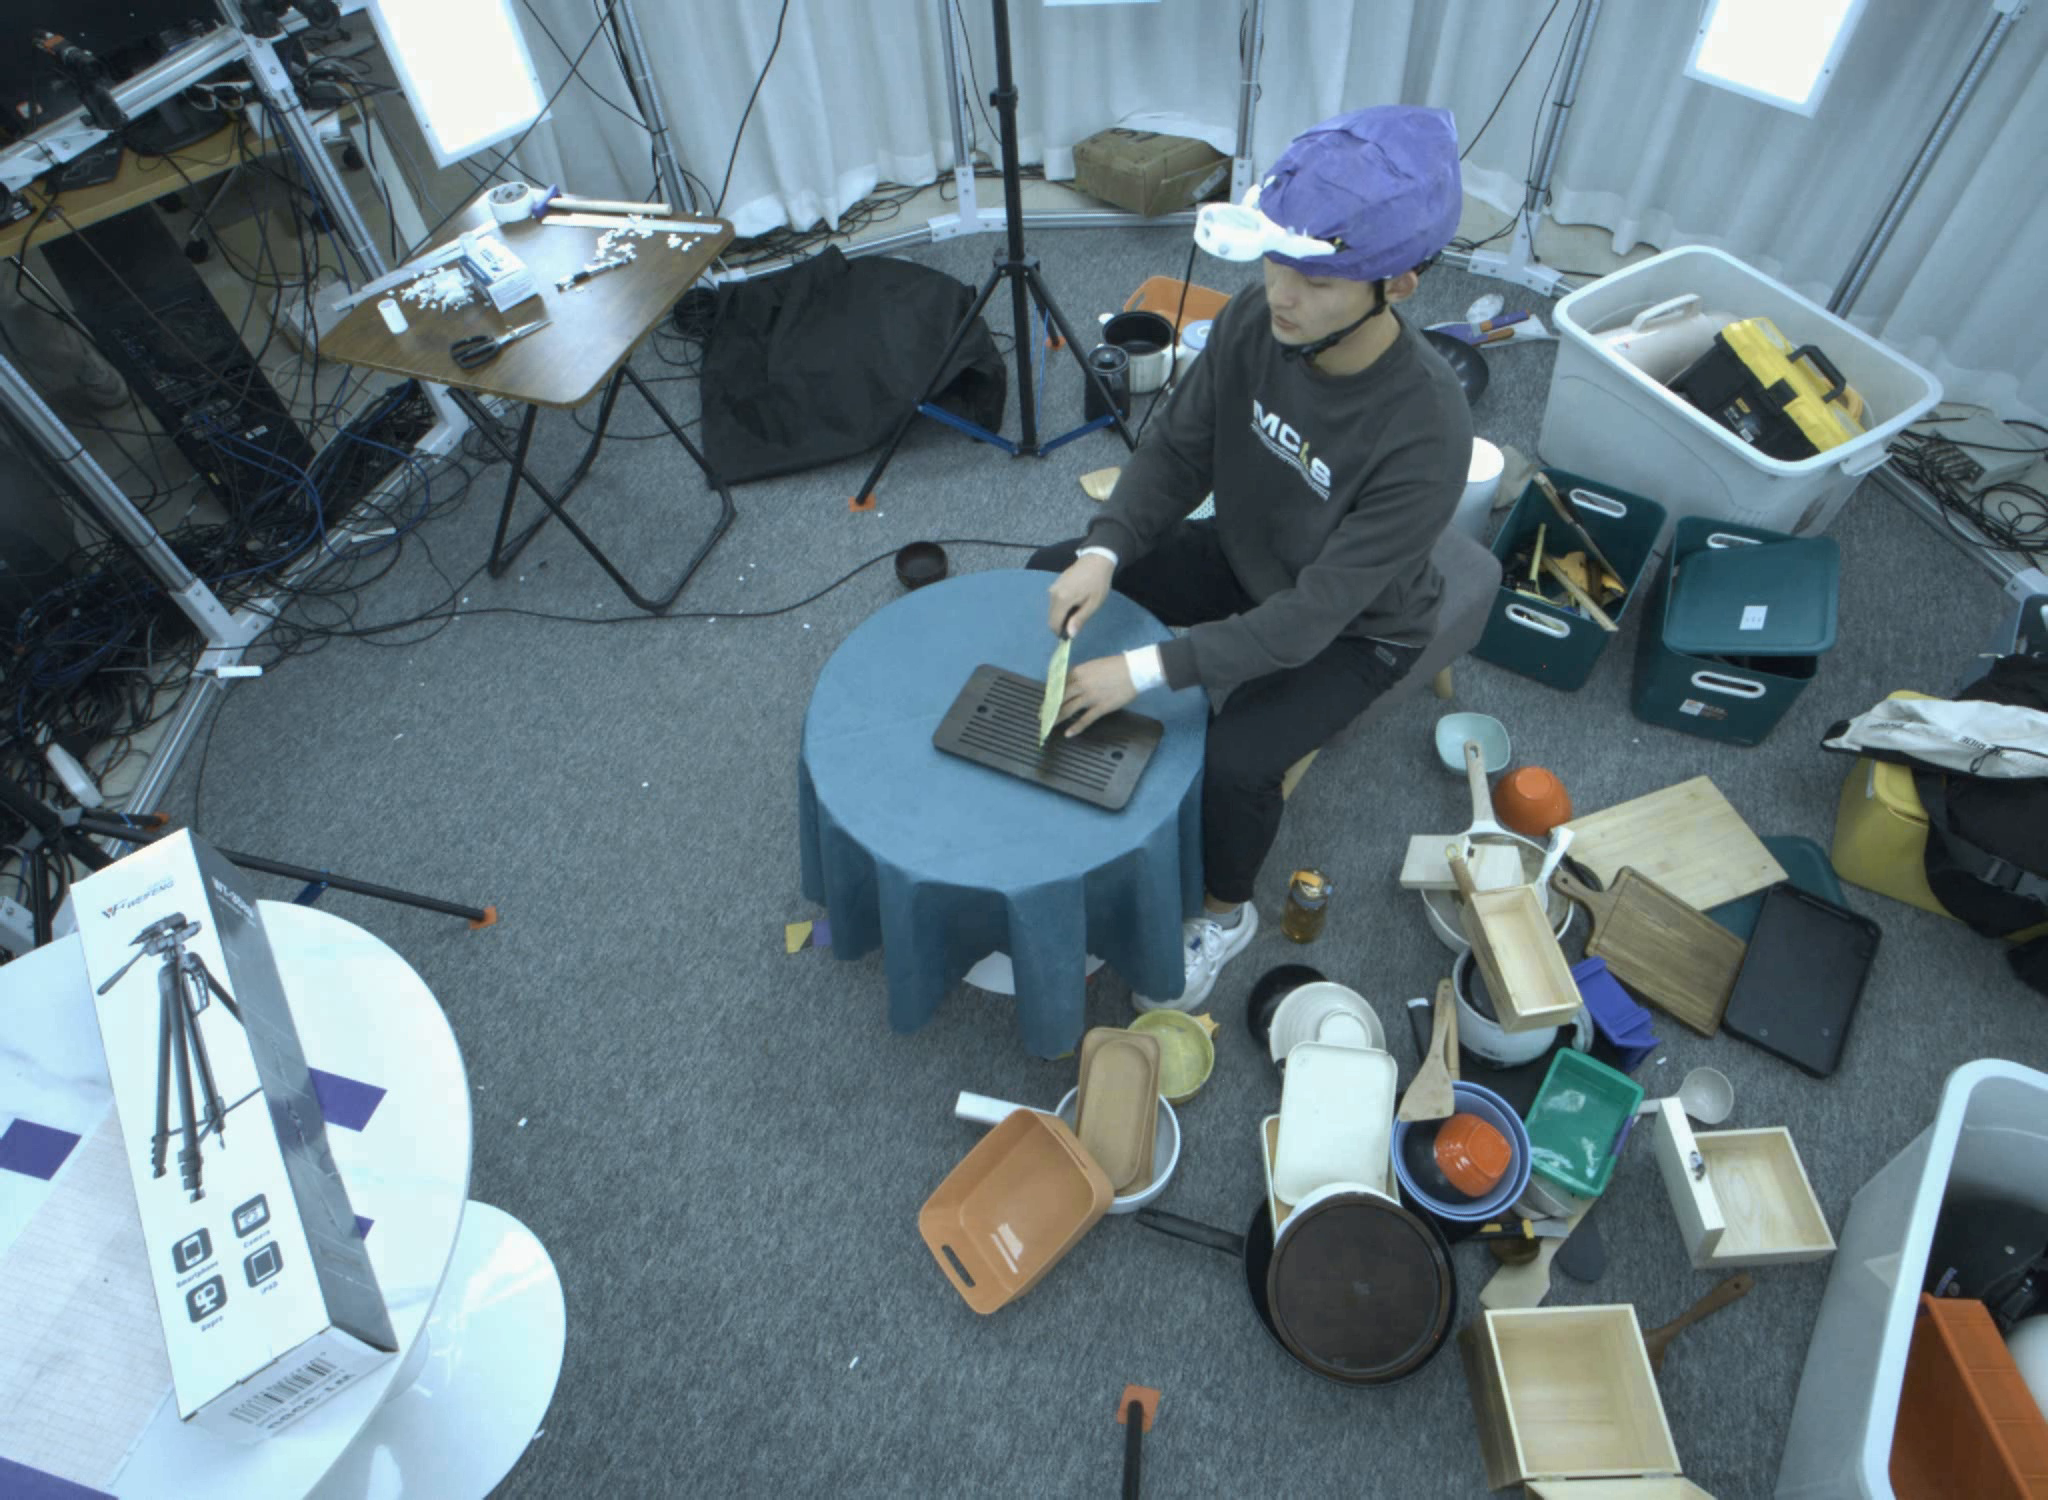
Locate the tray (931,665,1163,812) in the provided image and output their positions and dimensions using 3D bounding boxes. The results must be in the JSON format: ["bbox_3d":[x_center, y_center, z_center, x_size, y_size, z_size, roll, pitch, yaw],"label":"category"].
[{"bbox_3d":[0.033,-0.019,1.796,0.302,0.019,0.170,20,57,15],"label":"tray"}]

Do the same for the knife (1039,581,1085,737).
[{"bbox_3d":[0.053,-0.135,1.798,0.027,0.080,0.288,23,54,-16],"label":"knife"}]
